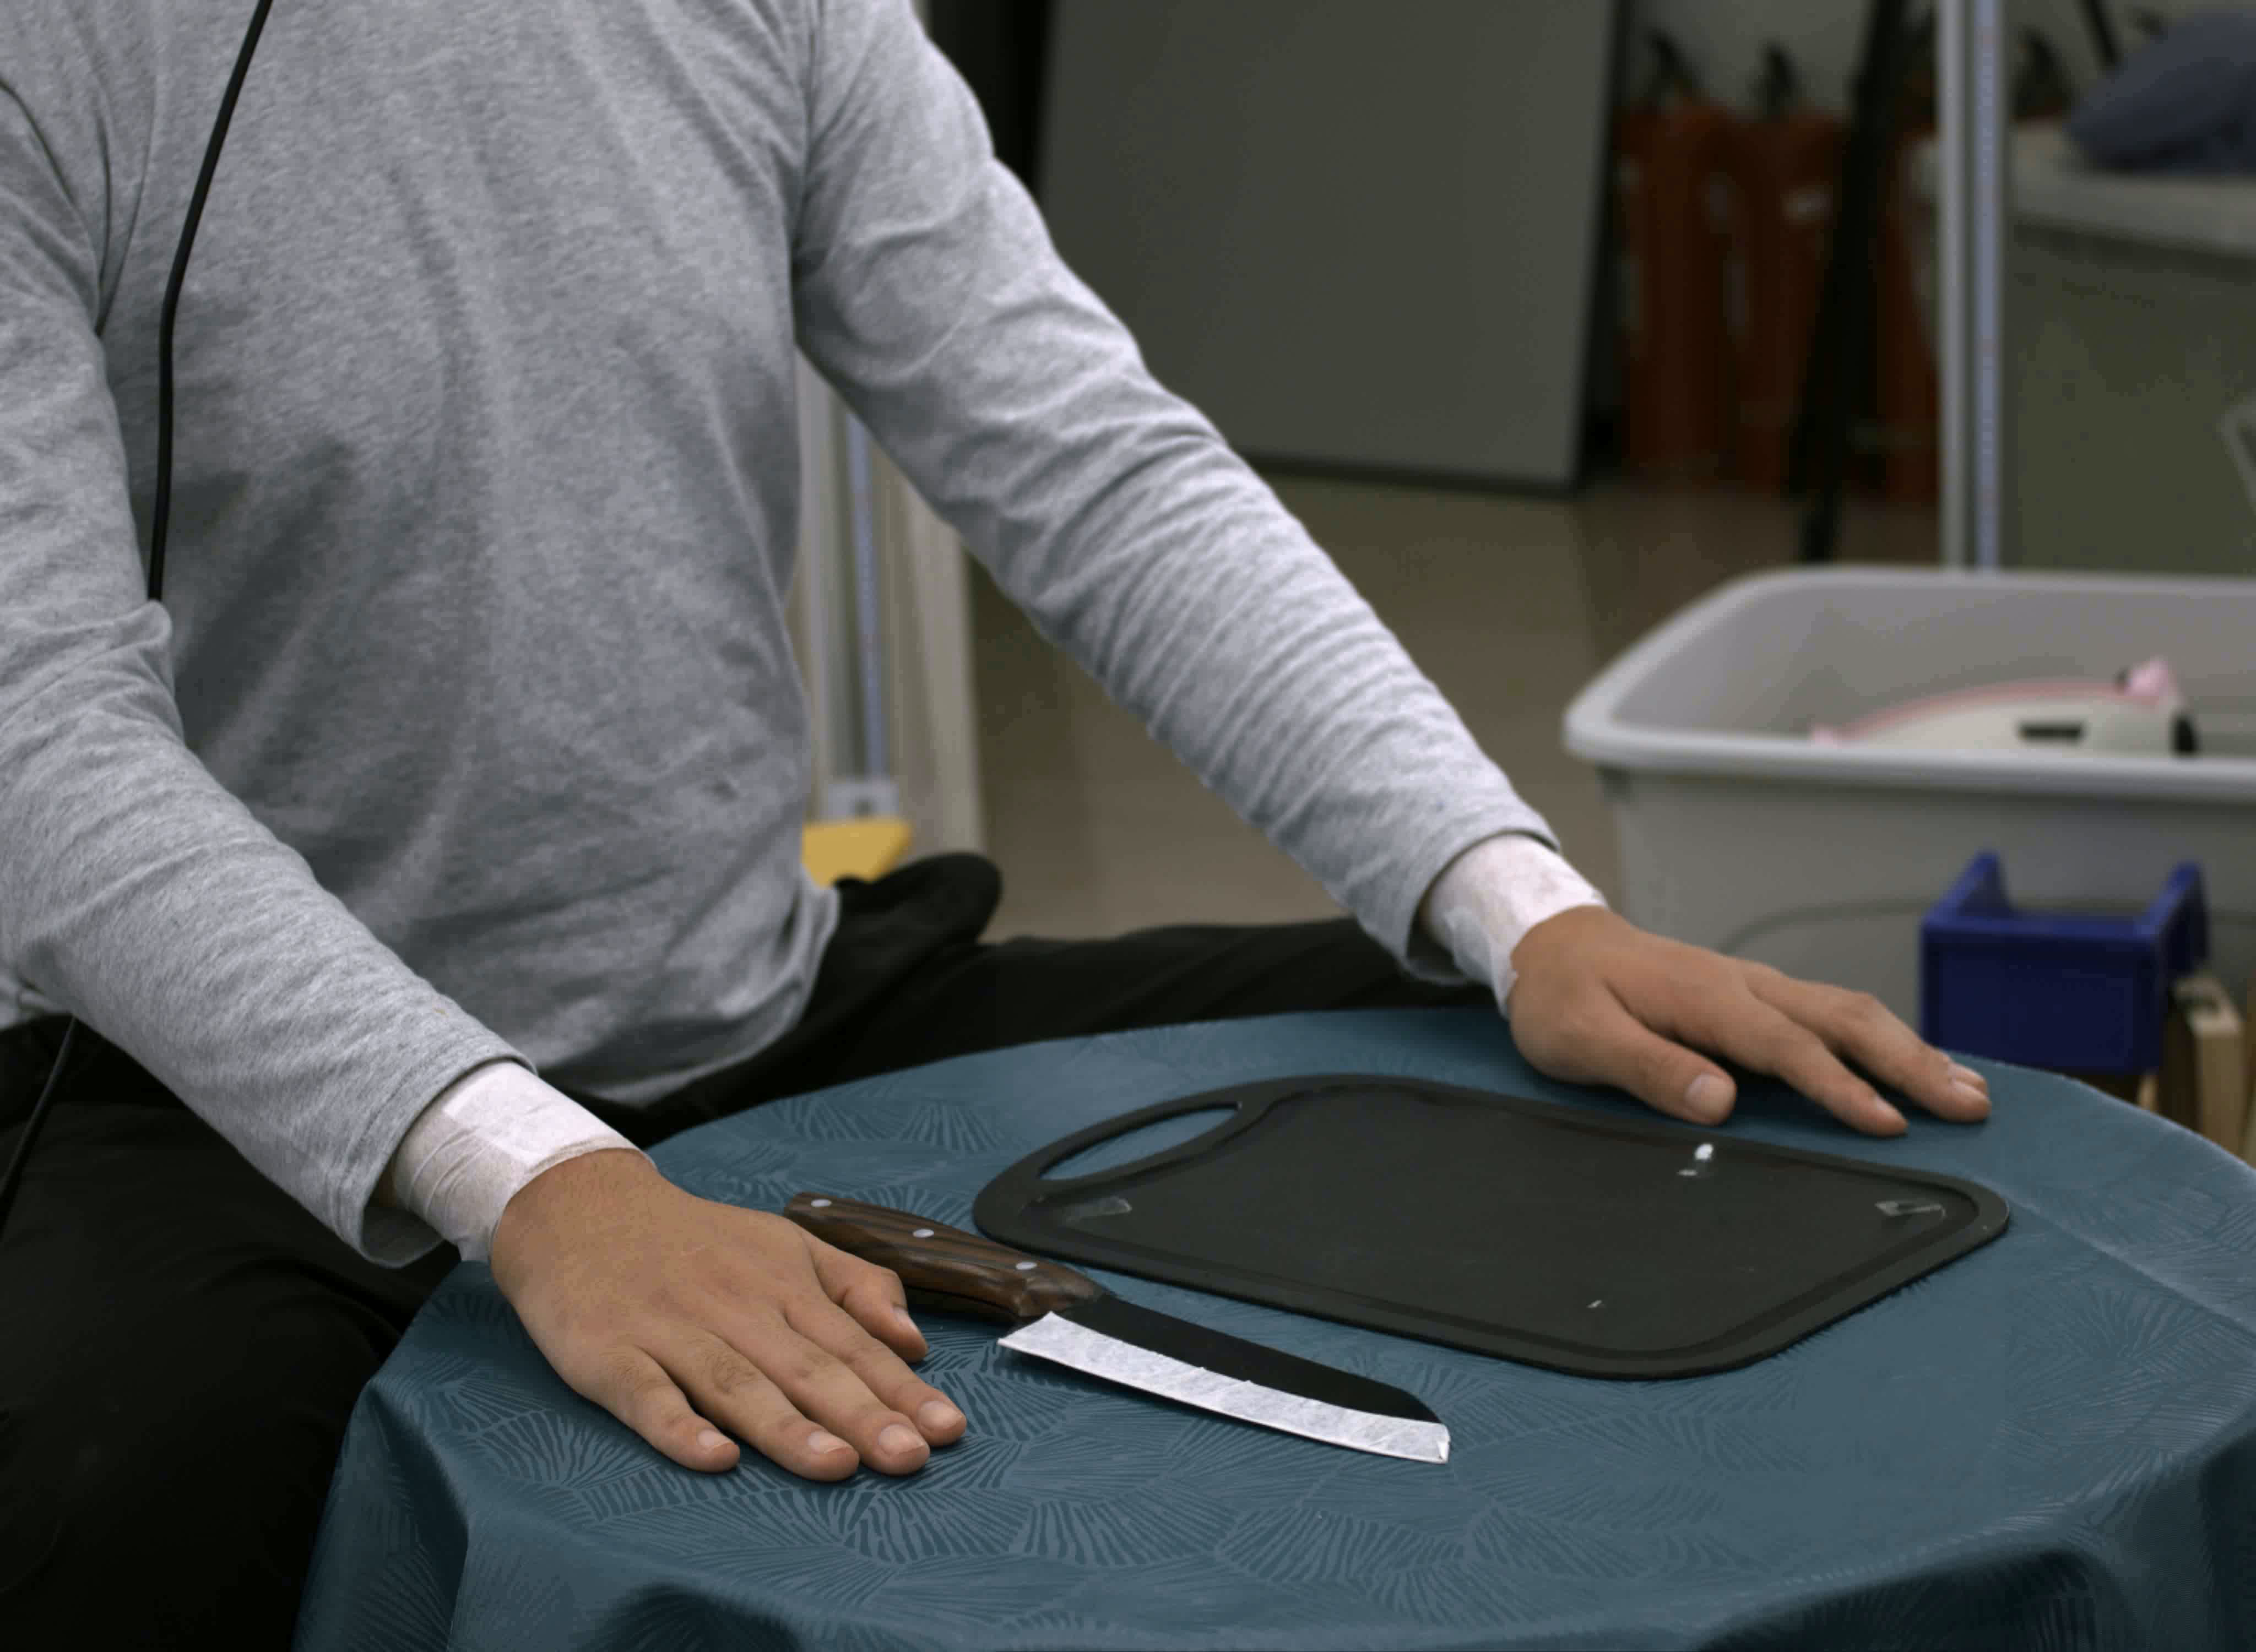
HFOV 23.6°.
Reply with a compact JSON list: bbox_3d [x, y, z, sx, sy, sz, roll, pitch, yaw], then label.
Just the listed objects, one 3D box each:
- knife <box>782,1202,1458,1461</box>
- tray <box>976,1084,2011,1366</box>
[{"bbox_3d":[-0.007,0.153,1.616,0.049,0.020,0.292,-22,24,-39],"label":"knife"},{"bbox_3d":[0.107,0.122,1.727,0.328,0.010,0.207,8,18,42],"label":"tray"}]
